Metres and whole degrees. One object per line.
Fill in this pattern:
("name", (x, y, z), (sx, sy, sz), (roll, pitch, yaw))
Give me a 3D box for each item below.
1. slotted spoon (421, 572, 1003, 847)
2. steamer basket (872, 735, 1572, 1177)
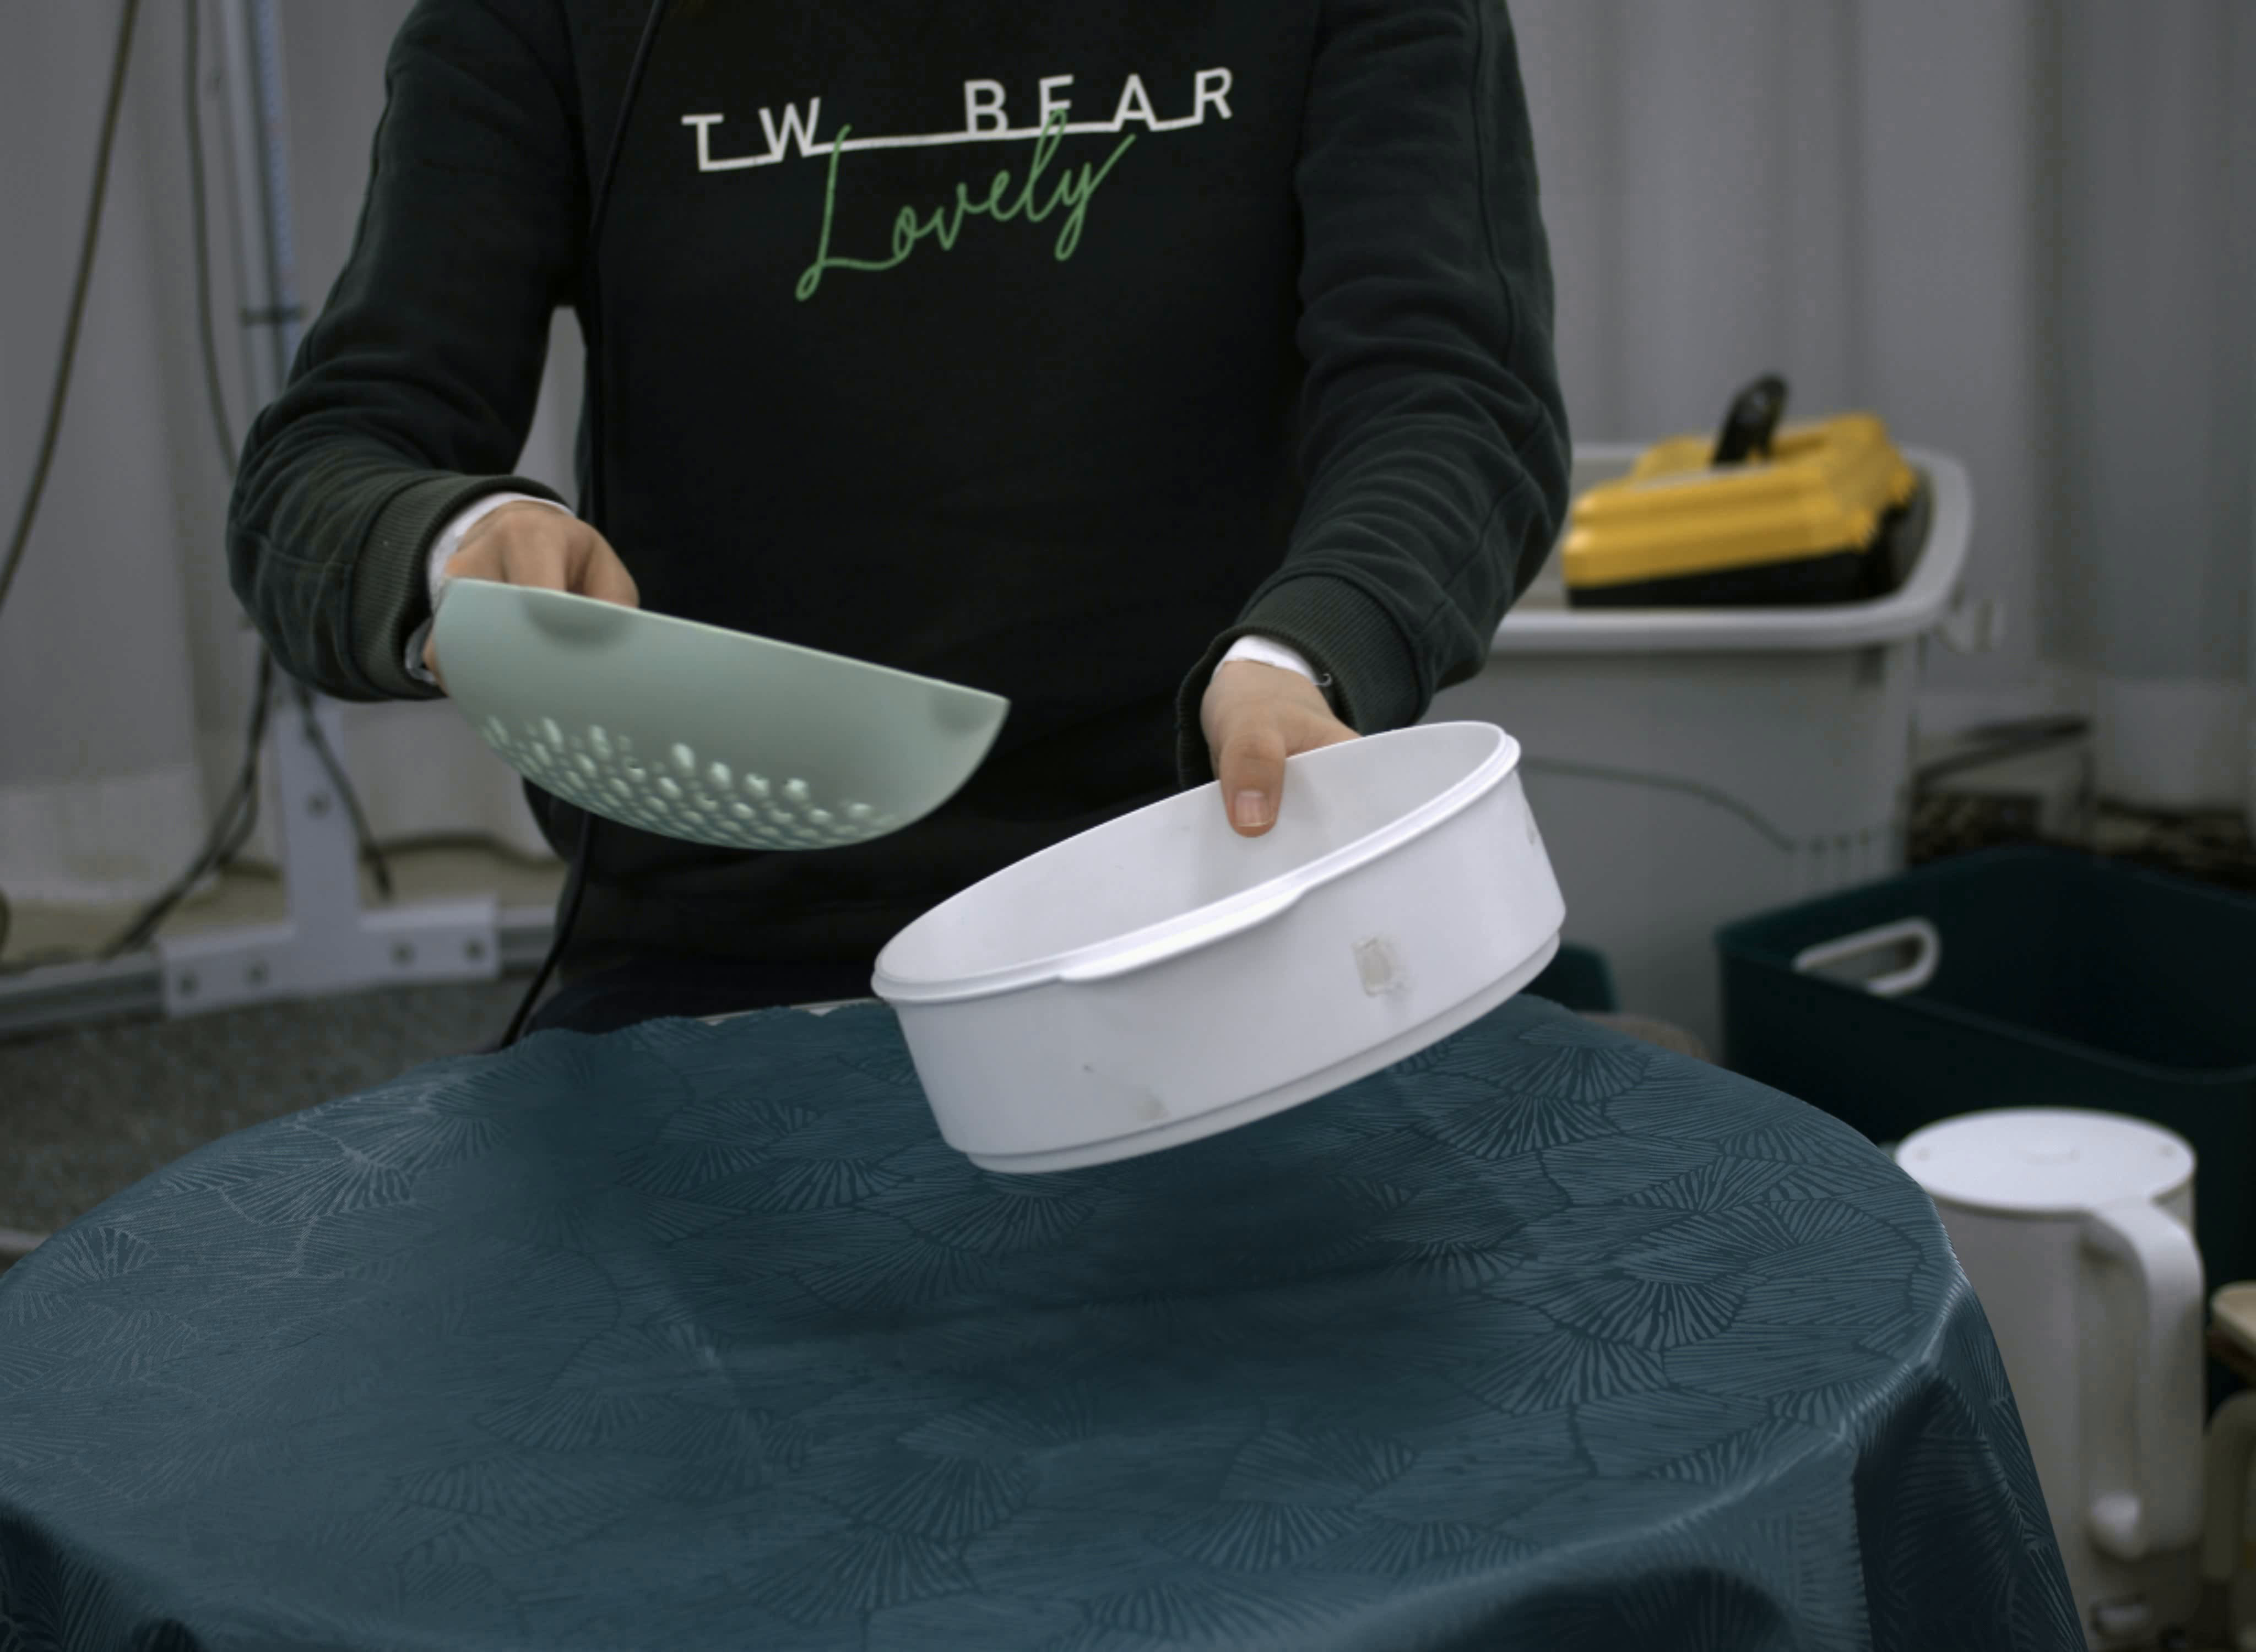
("slotted spoon", (-0.152, -0.045, 1.658), (0.168, 0.075, 0.361), (14, 5, -18))
("steamer basket", (0.030, 0.039, 1.584), (0.201, 0.069, 0.231), (-18, 10, 5))
